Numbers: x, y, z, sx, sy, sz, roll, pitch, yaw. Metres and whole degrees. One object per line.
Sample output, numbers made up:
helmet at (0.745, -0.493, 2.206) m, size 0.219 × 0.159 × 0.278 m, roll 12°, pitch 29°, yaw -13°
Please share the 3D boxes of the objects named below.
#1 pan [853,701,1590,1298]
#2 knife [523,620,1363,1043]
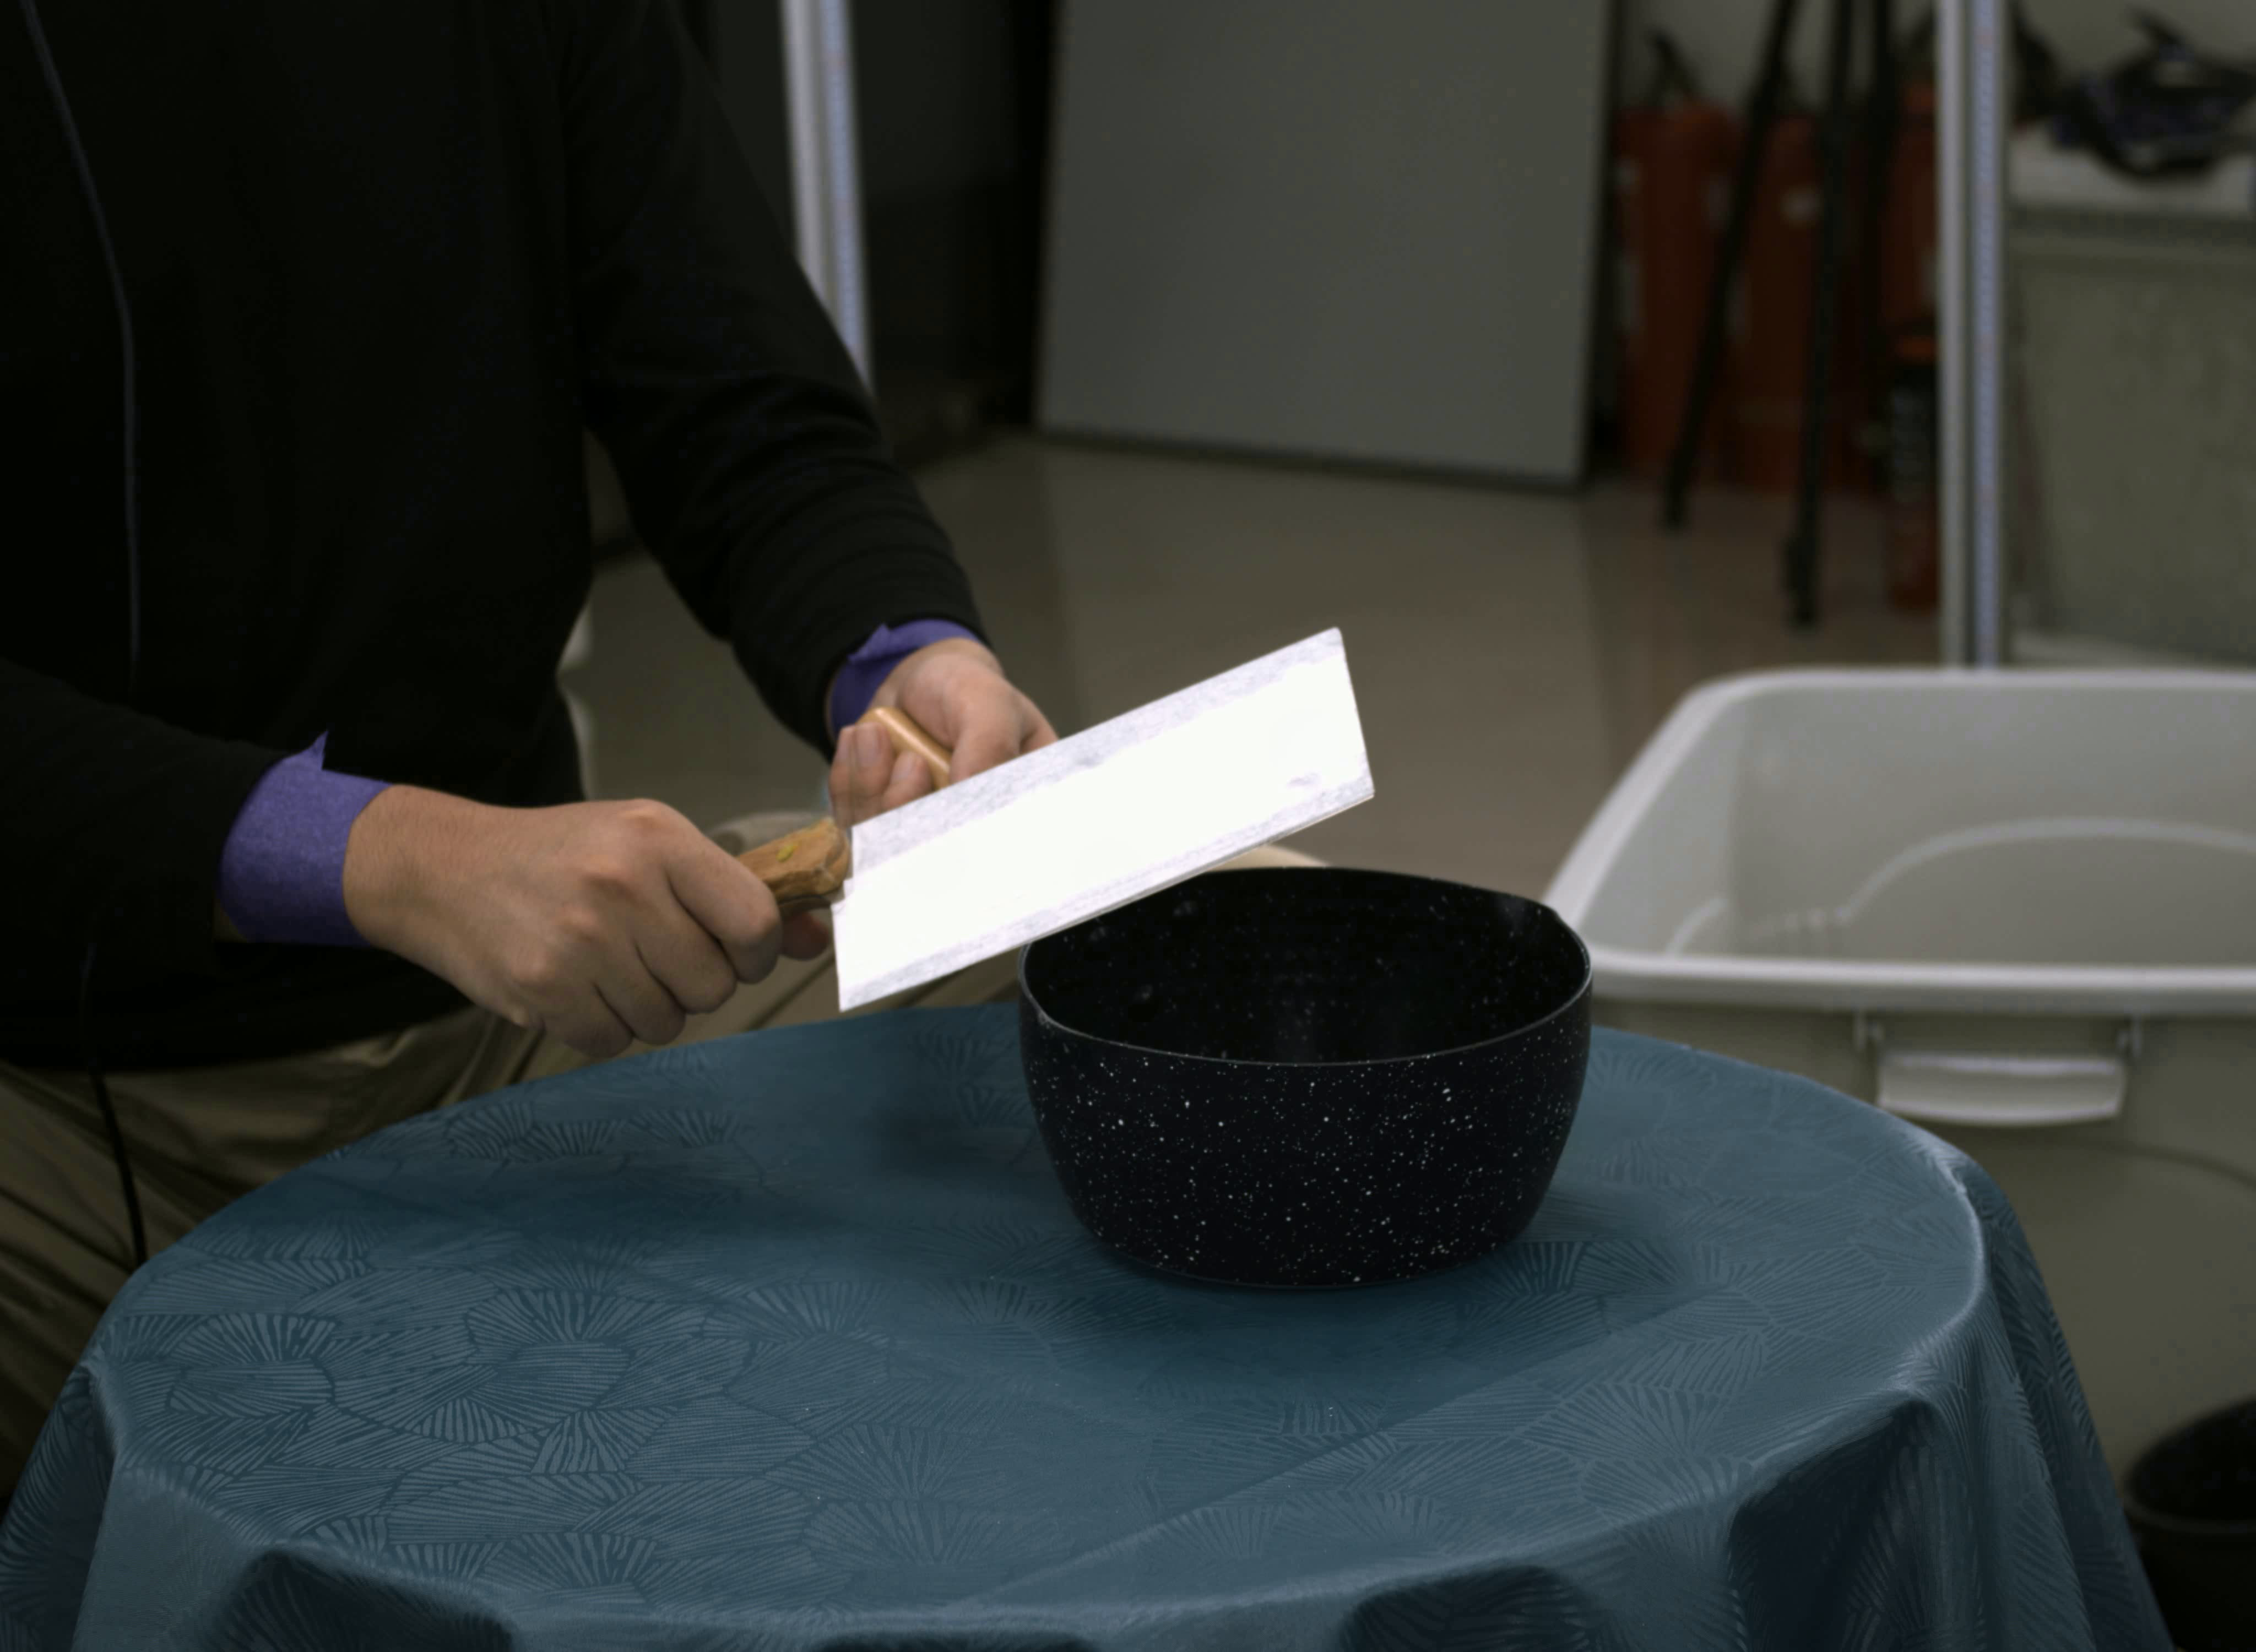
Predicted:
pan at (0.008, 0.052, 1.777) m, size 0.203 × 0.109 × 0.346 m, roll -14°, pitch 23°, yaw -34°
knife at (-0.063, 0.017, 1.770) m, size 0.305 × 0.021 × 0.094 m, roll -23°, pitch 38°, yaw 12°
